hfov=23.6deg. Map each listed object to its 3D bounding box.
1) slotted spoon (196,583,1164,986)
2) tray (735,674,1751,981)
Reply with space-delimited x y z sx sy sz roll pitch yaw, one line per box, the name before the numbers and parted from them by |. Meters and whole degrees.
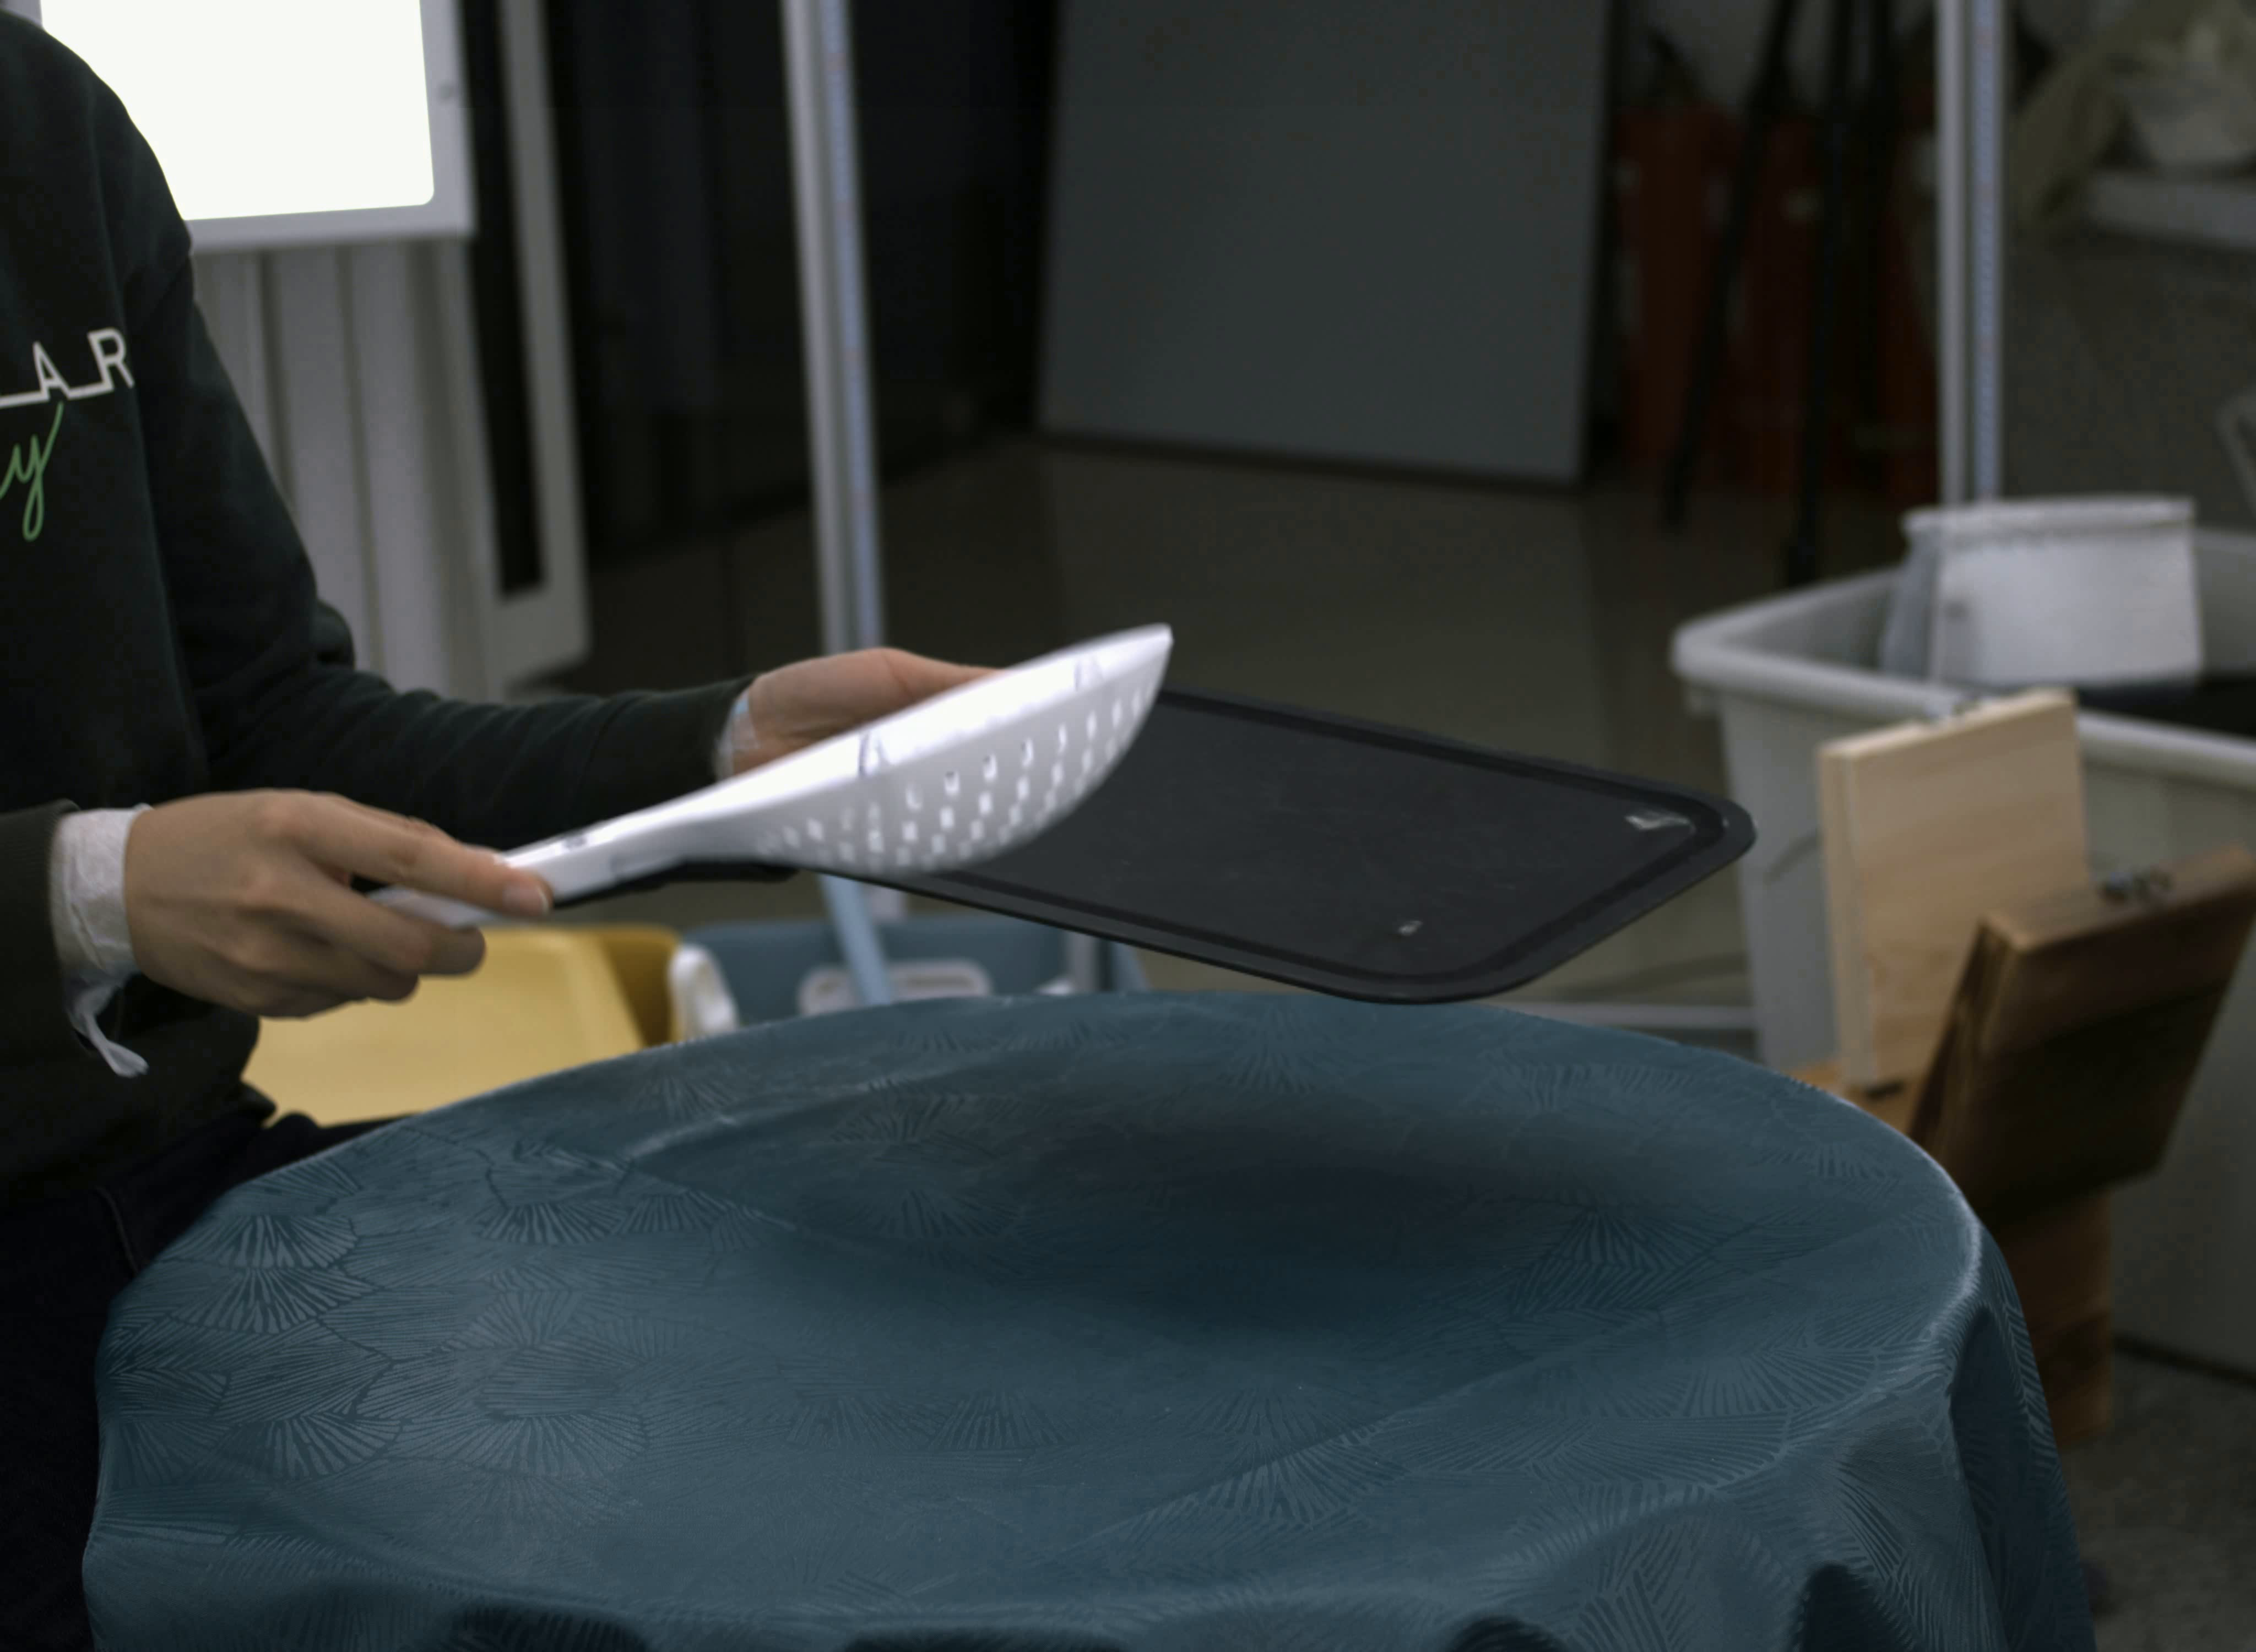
slotted spoon | -0.136 -0.006 1.541 0.351 0.046 0.134 -13 8 33
tray | 0.028 -0.005 1.763 0.328 0.010 0.207 12 24 37
